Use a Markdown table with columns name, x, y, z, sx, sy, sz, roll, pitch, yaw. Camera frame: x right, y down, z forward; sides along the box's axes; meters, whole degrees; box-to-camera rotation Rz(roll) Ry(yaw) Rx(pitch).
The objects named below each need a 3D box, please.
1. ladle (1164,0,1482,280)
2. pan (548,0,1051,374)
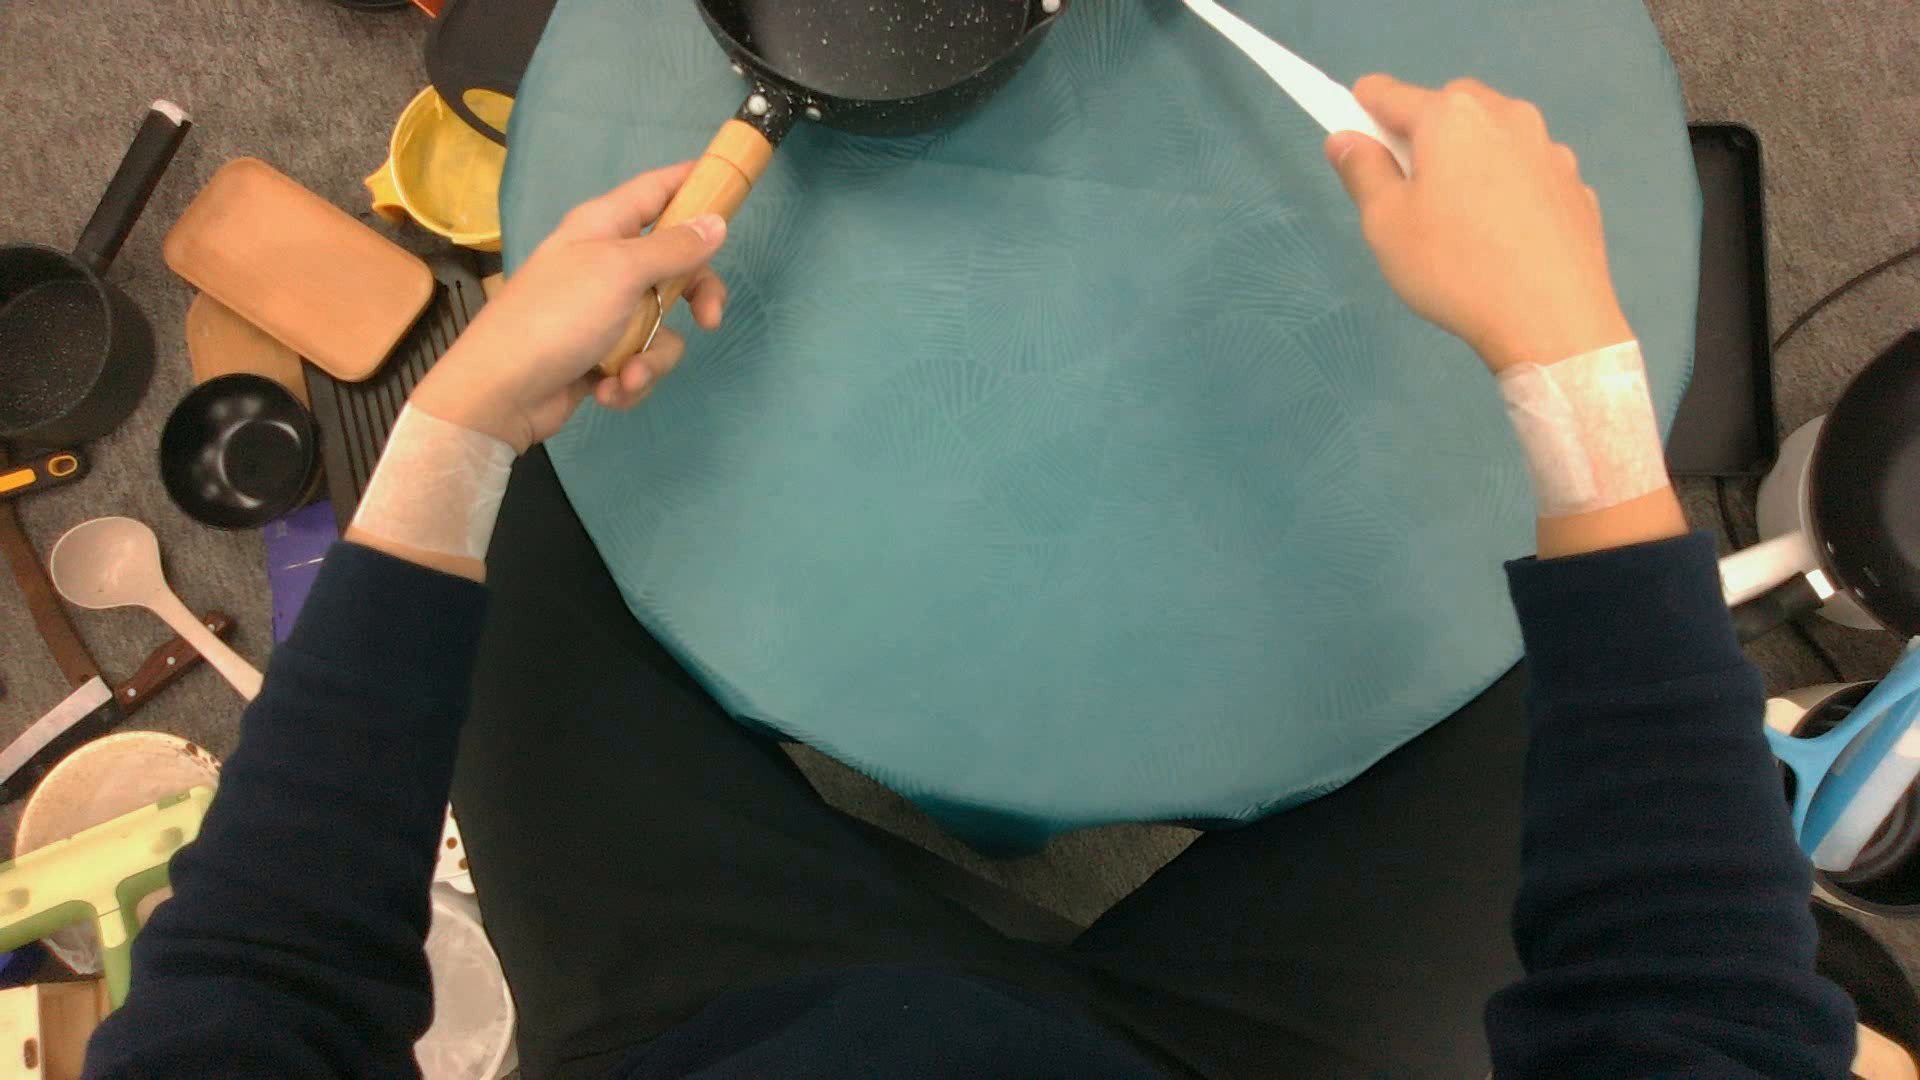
| name | x | y | z | sx | sy | sz | roll | pitch | yaw |
| --- | --- | --- | --- | --- | --- | --- | --- | --- | --- |
| ladle | 0.143 | -0.229 | 0.611 | 0.070 | 0.090 | 0.293 | -44 | 52 | 19 |
| pan | -0.083 | -0.217 | 0.643 | 0.207 | 0.108 | 0.343 | 27 | 83 | 2 |
